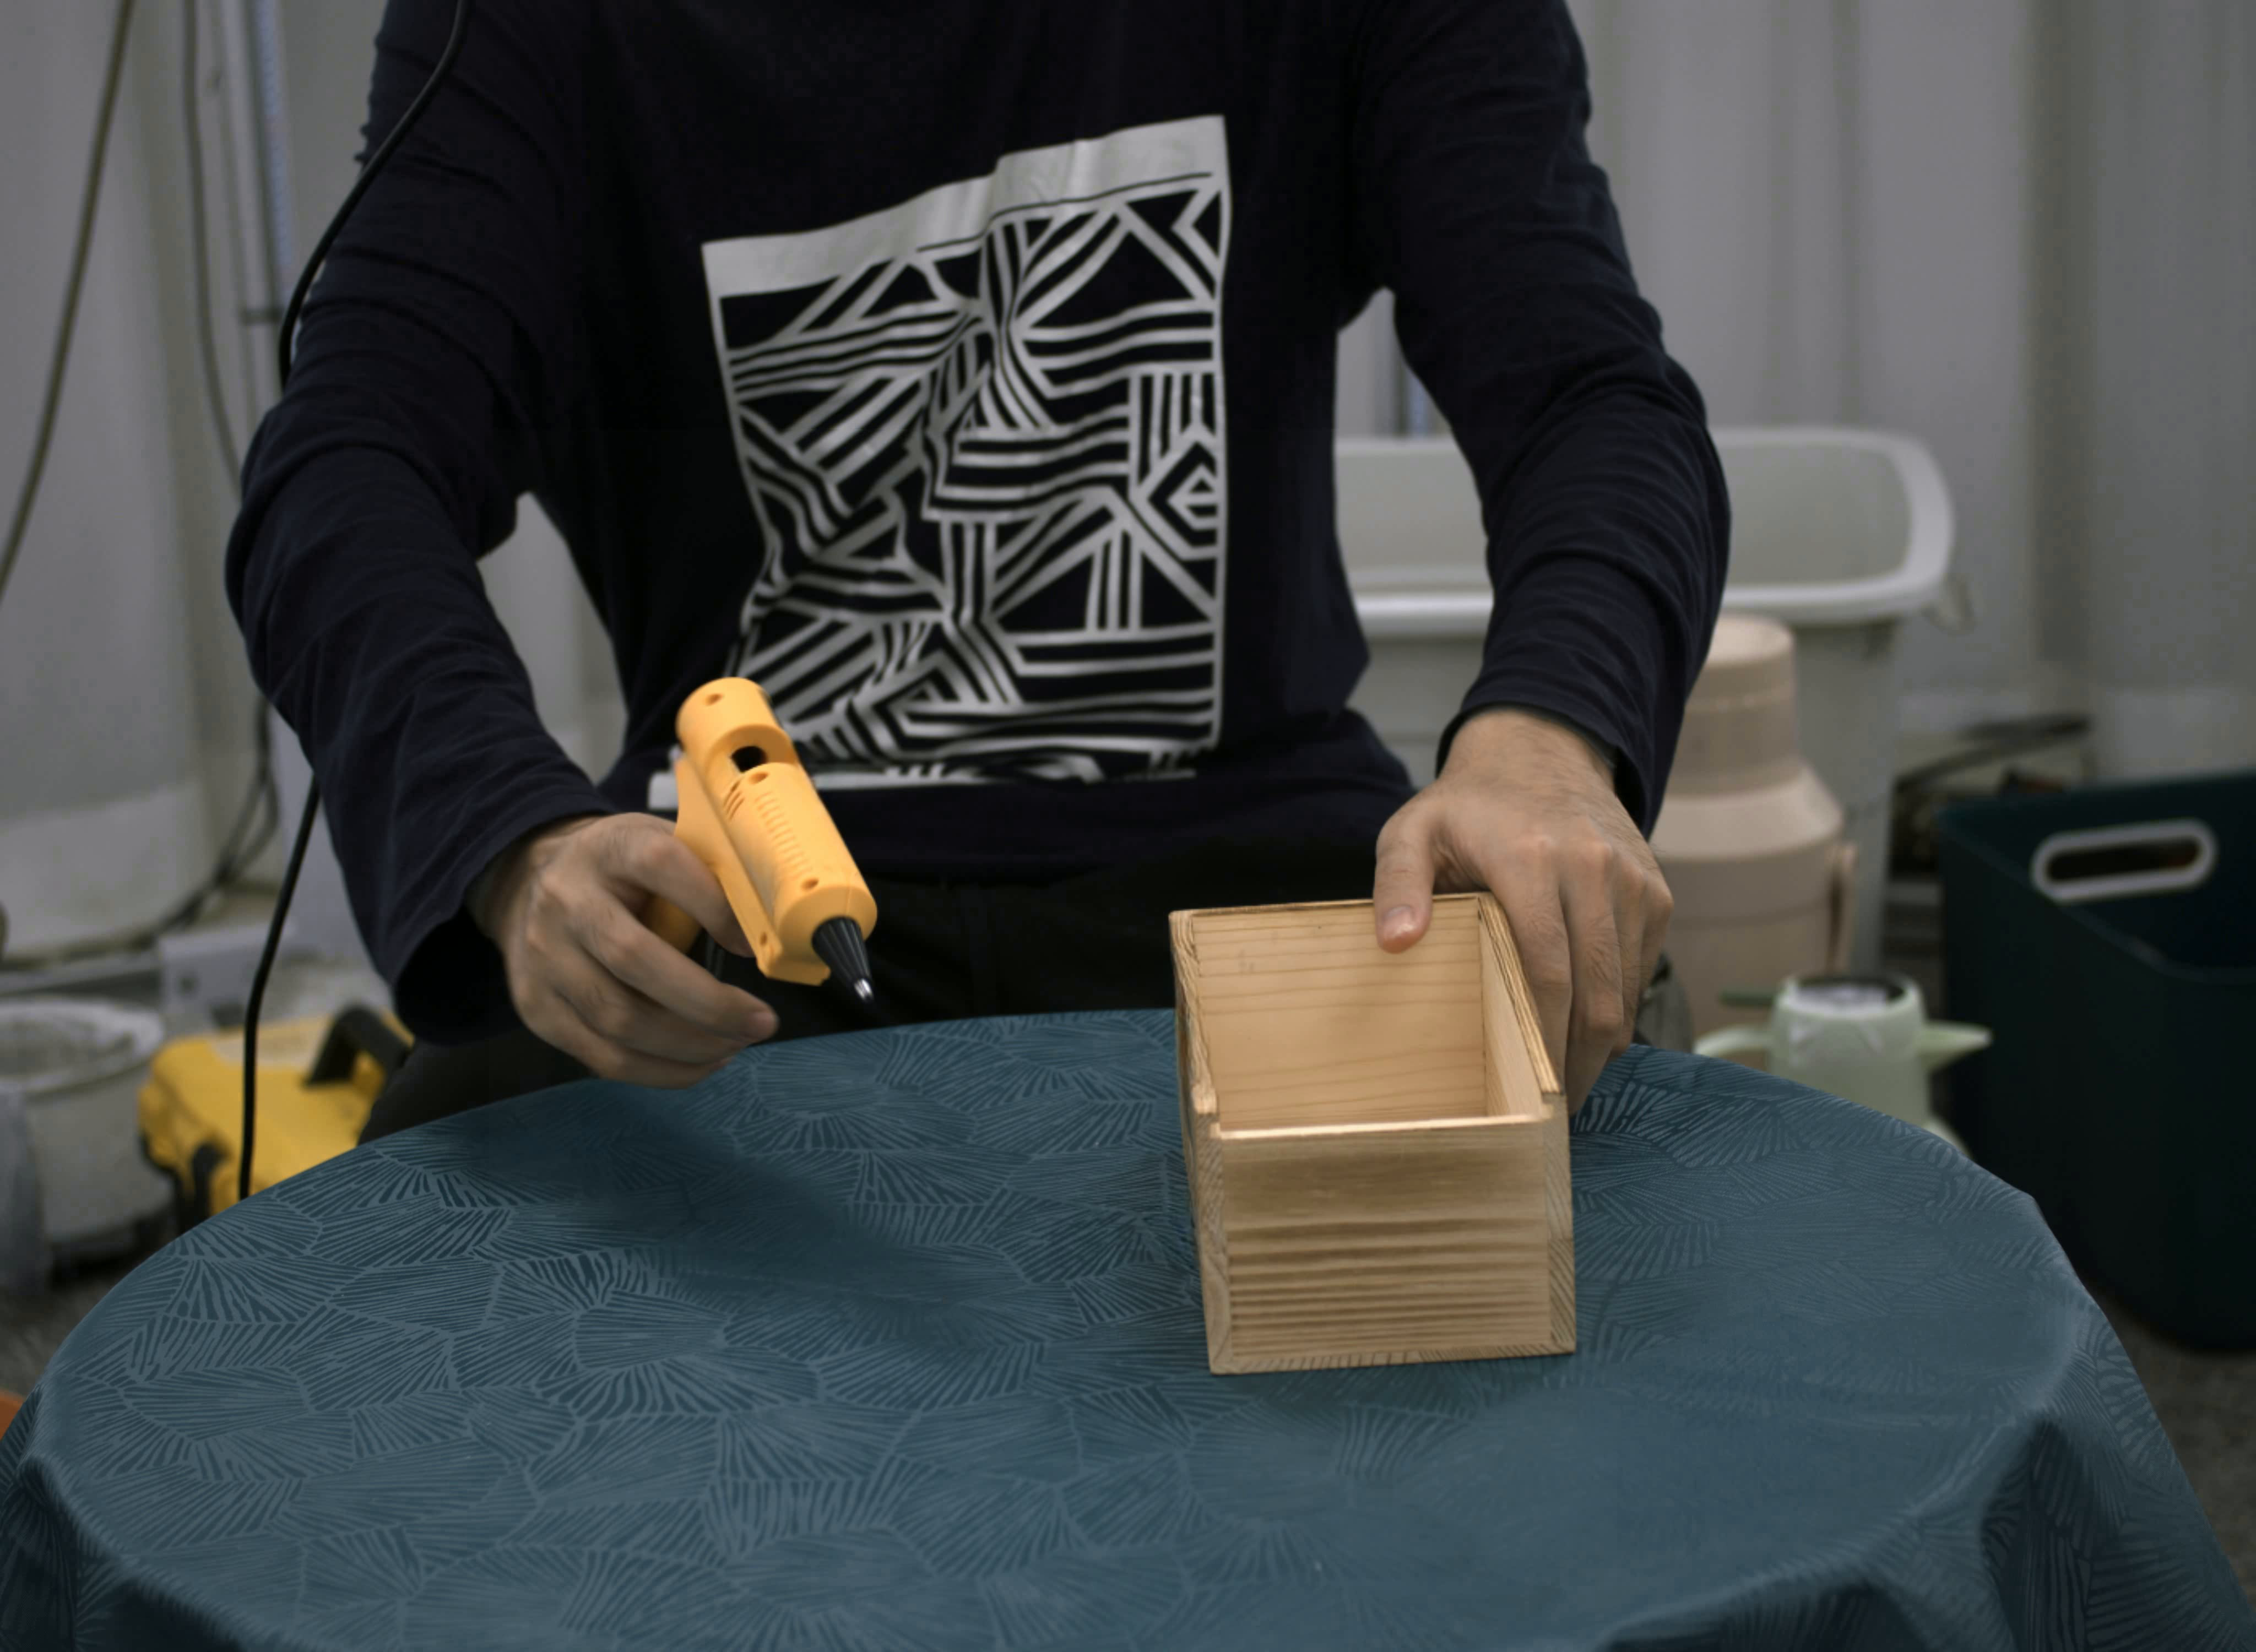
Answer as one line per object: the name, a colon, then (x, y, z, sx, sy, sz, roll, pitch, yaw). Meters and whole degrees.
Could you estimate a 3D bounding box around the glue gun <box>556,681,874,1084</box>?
glue gun: (-0.123, 0.044, 1.667, 0.031, 0.132, 0.153, 20, 19, -31)

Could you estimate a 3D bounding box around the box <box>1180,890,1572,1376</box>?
box: (0.072, 0.089, 1.646, 0.107, 0.080, 0.213, -3, 15, 0)
